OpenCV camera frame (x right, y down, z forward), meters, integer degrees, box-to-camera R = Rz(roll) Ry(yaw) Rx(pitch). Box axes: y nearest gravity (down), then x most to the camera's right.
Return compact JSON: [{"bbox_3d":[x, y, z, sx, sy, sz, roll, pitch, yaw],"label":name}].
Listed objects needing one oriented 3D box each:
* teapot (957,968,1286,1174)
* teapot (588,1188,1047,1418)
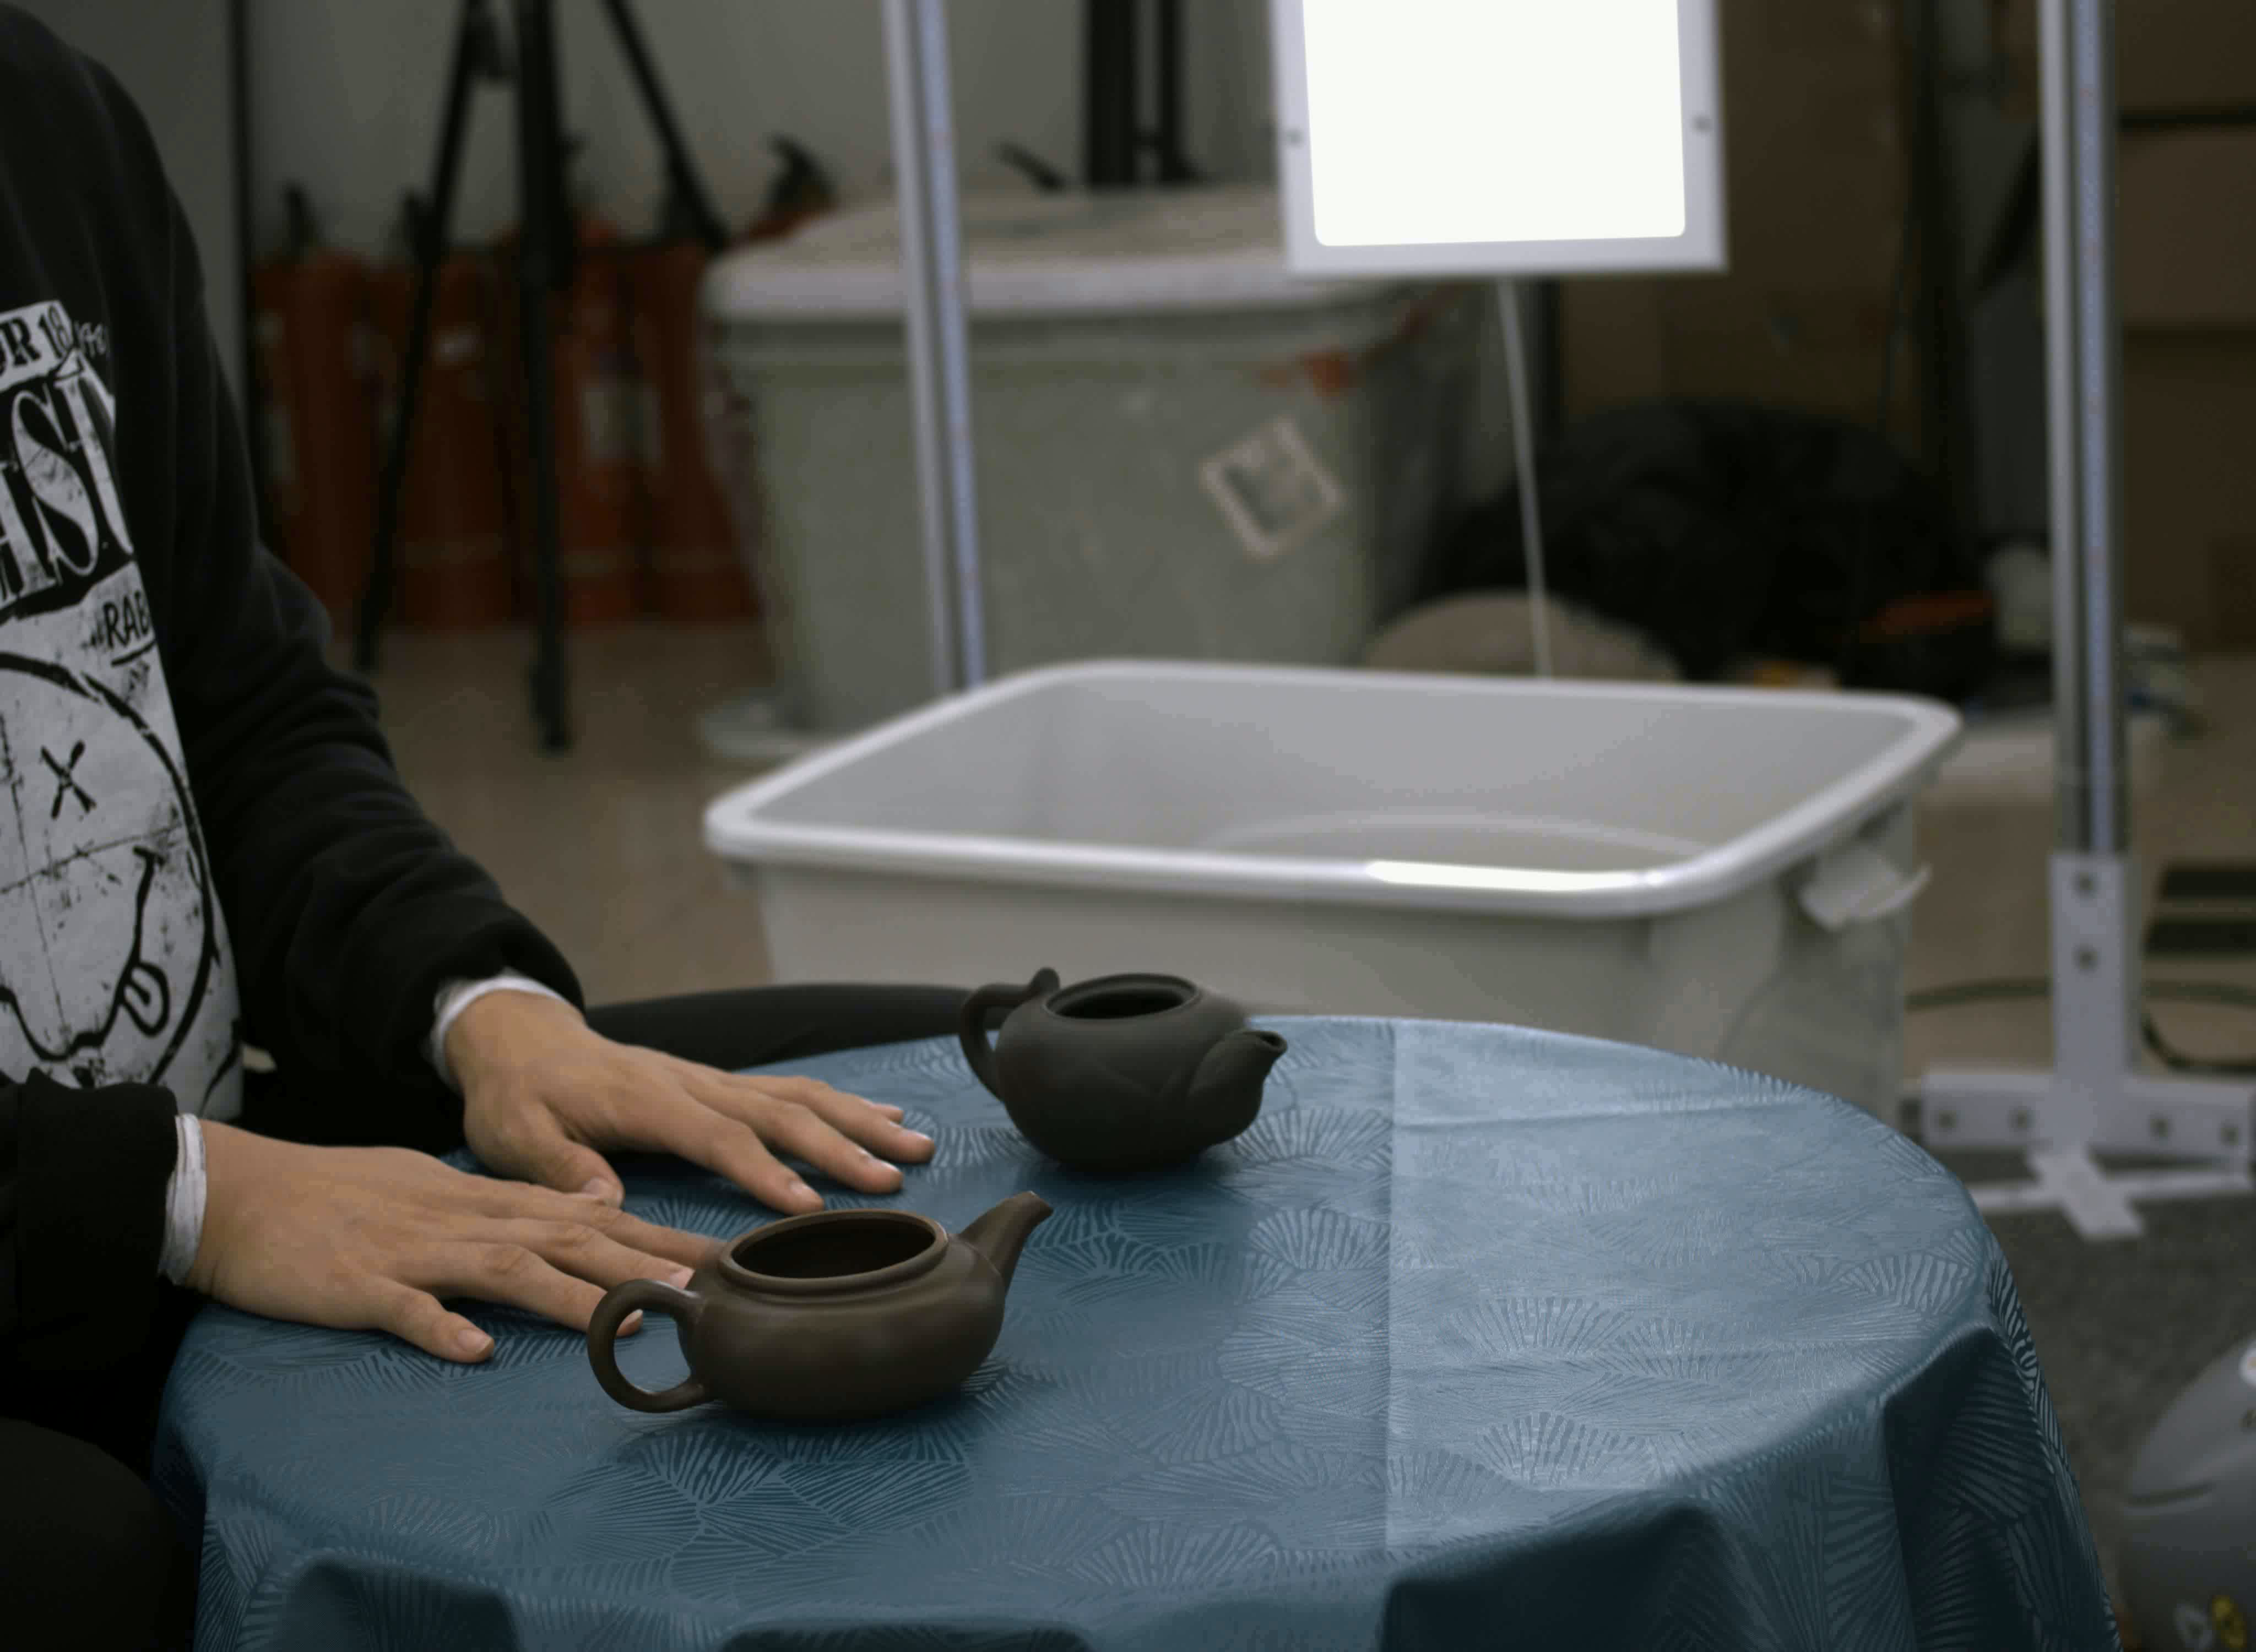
[{"bbox_3d":[-0.003,0.085,1.935,0.157,0.064,0.090,9,17,43],"label":"teapot"},{"bbox_3d":[-0.094,0.151,1.718,0.150,0.054,0.104,-10,12,-23],"label":"teapot"}]
